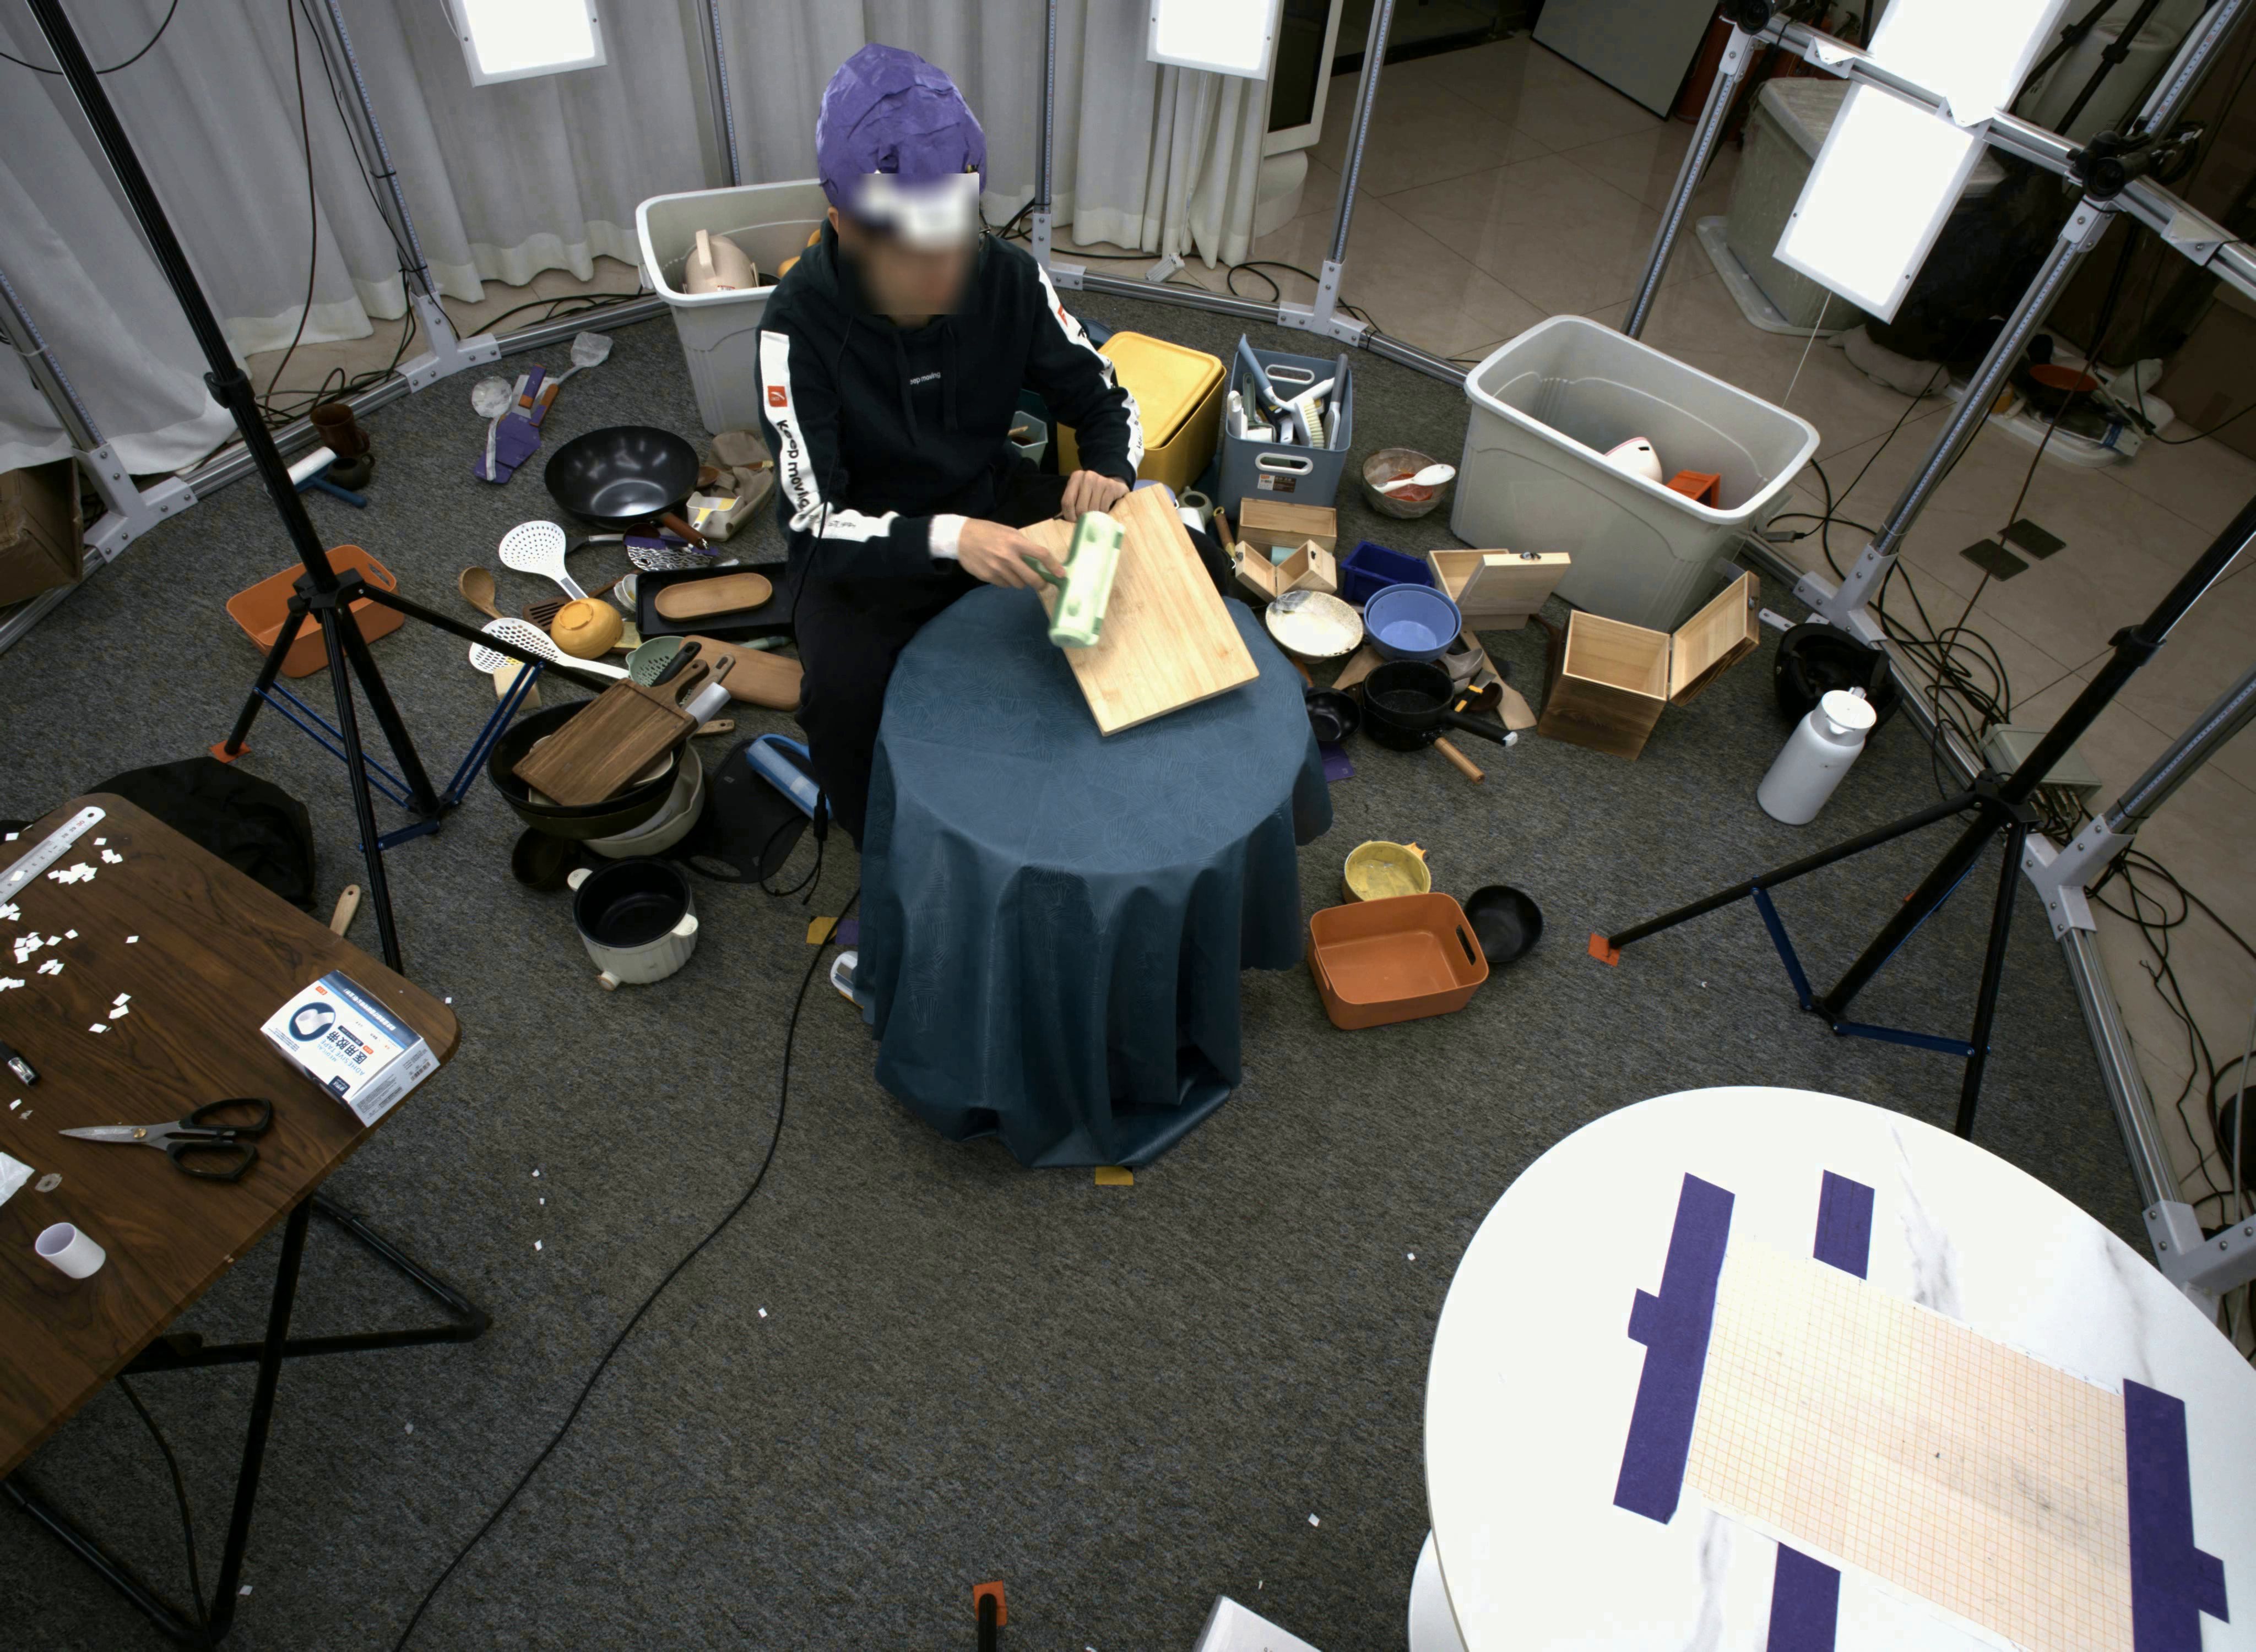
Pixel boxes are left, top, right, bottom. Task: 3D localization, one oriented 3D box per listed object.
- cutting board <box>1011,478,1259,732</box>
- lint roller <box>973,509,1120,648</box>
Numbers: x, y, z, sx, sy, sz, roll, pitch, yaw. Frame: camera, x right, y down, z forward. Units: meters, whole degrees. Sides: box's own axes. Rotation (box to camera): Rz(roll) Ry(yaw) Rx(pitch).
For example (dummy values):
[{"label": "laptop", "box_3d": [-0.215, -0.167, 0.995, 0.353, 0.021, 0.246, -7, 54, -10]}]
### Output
[{"label": "cutting board", "box_3d": [0.007, -0.321, 1.847, 0.251, 0.023, 0.354, -21, 72, -12]}, {"label": "lint roller", "box_3d": [-0.117, -0.356, 1.747, 0.182, 0.081, 0.201, 16, 70, -8]}]
